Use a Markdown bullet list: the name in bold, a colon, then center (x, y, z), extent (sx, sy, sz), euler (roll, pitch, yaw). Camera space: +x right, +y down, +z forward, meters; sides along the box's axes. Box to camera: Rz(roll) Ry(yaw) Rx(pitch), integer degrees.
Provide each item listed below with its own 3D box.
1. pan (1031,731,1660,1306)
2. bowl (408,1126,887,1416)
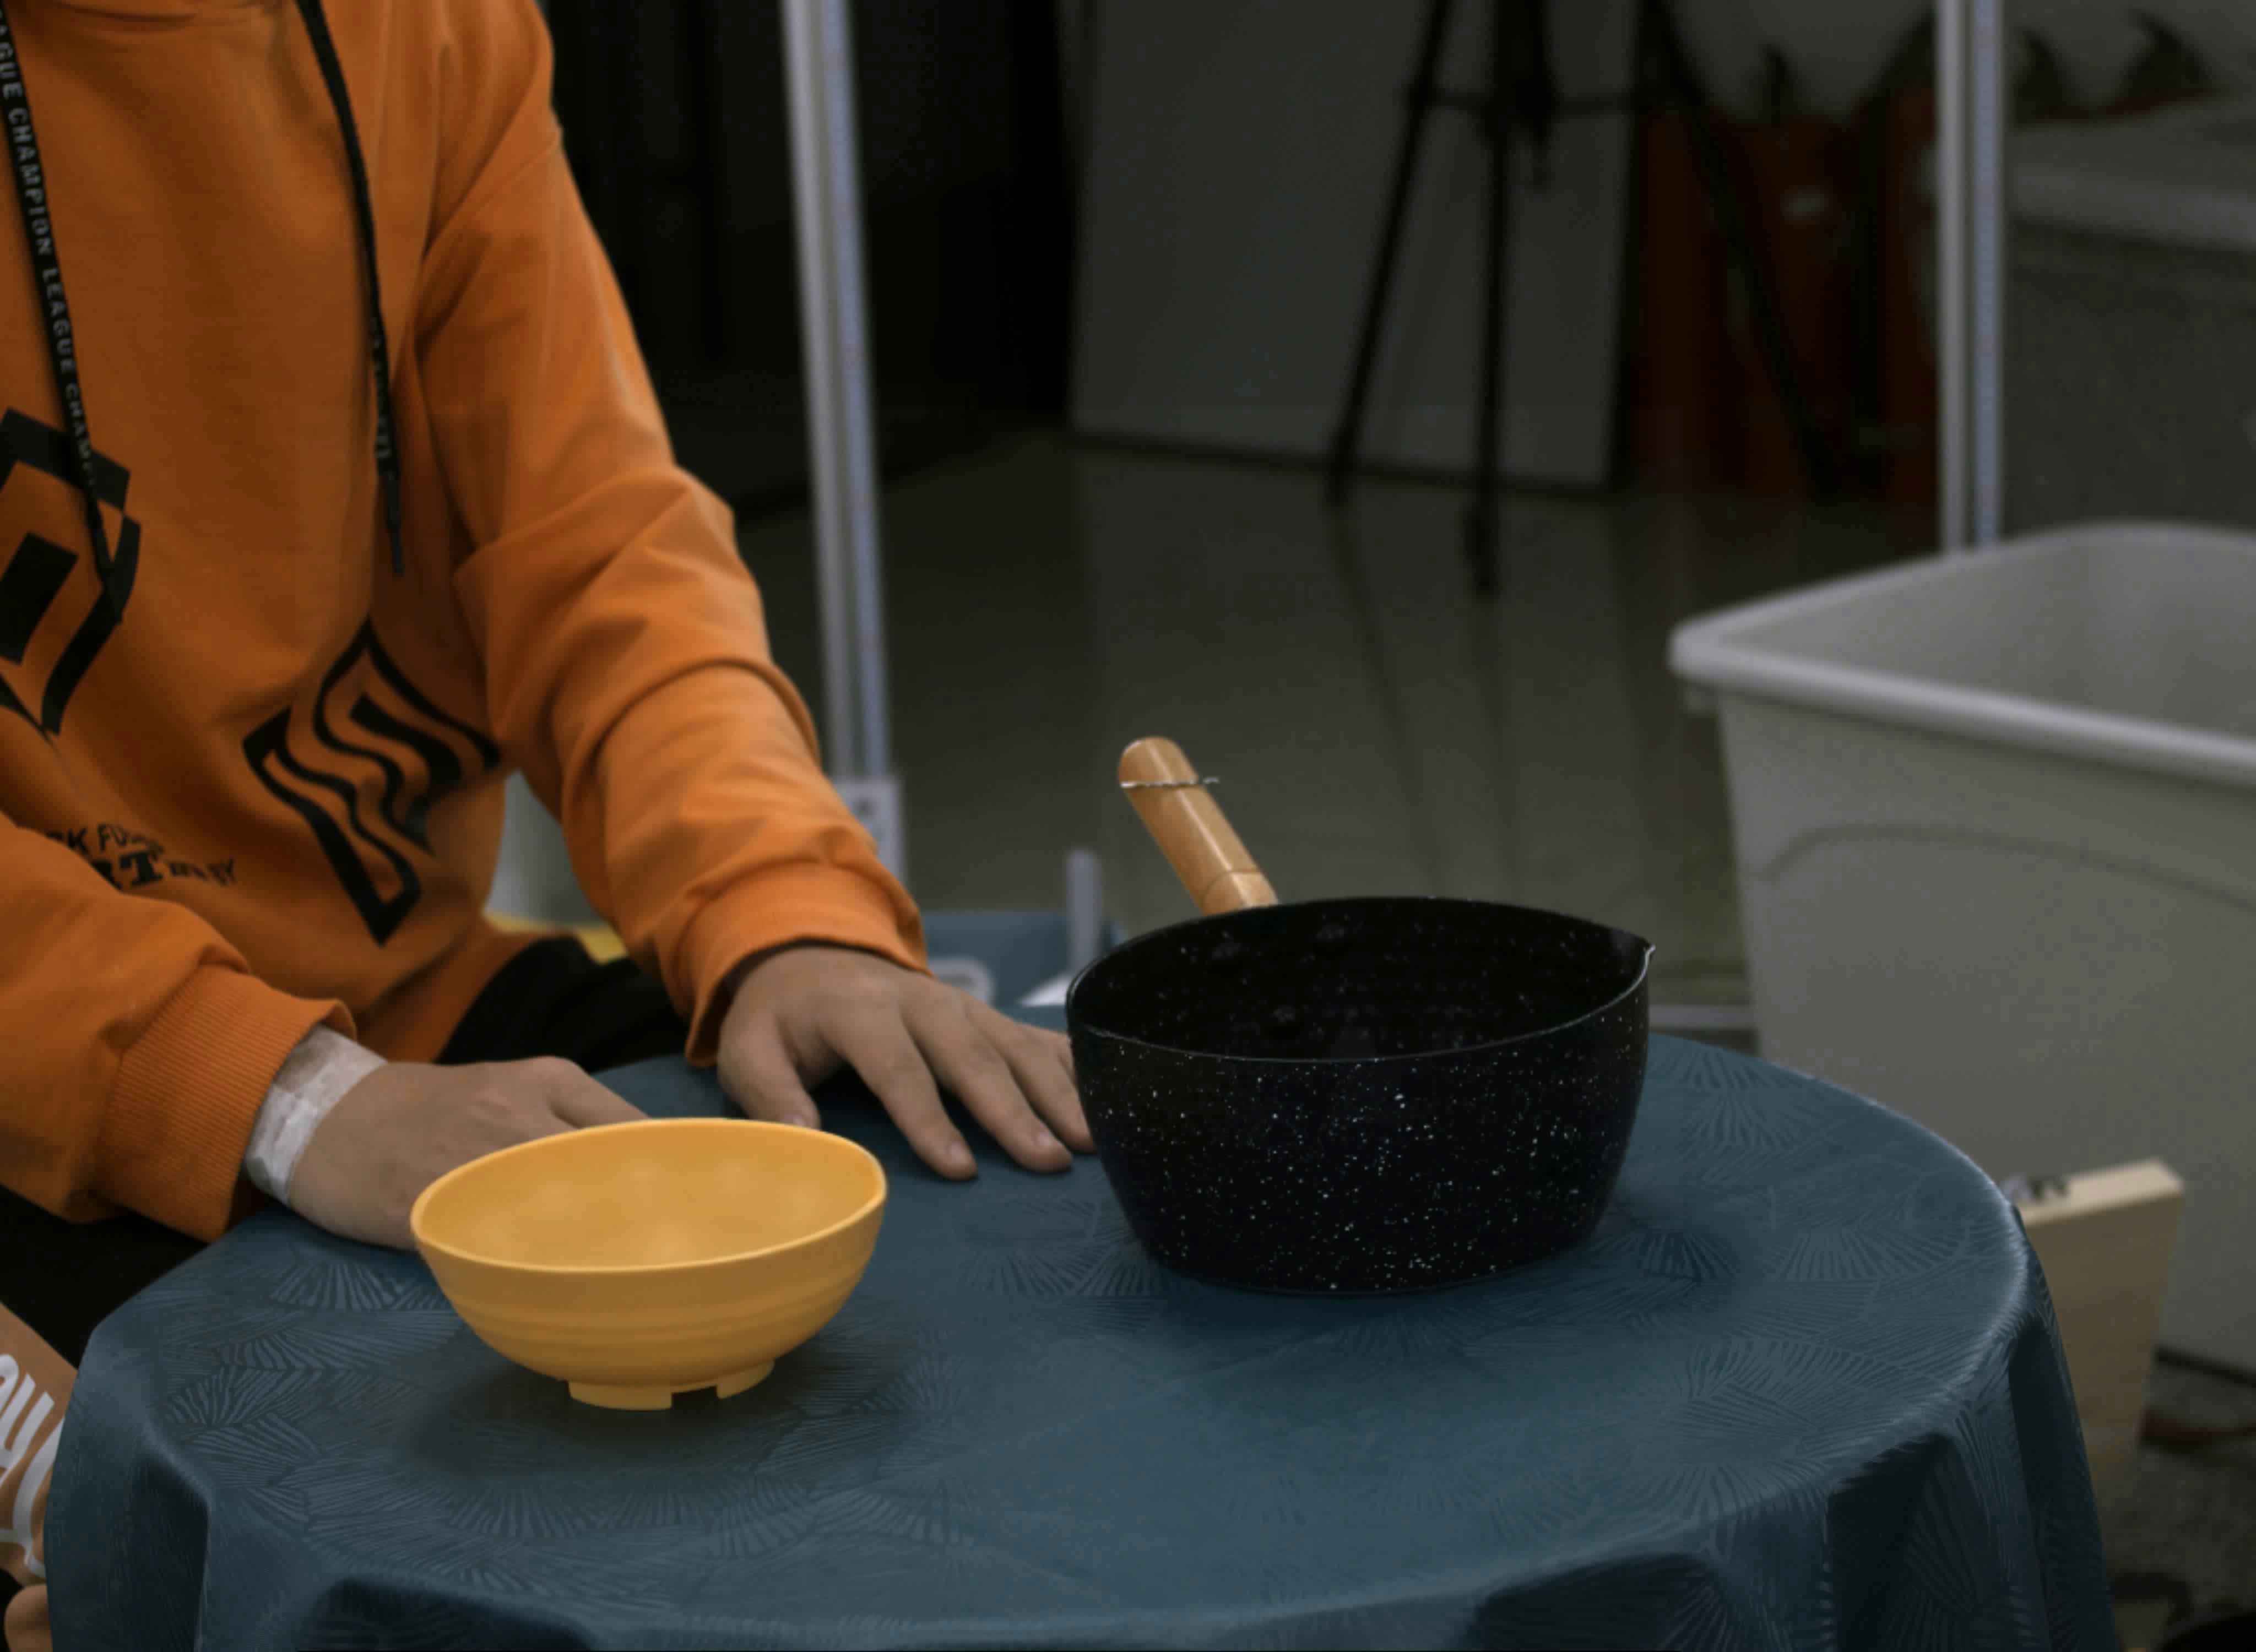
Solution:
- **pan**: center (0.053, 0.058, 1.784), extent (0.203, 0.109, 0.345), euler (-9, 16, -14)
- **bowl**: center (-0.142, 0.138, 1.623), extent (0.143, 0.061, 0.145), euler (-3, 13, 0)
